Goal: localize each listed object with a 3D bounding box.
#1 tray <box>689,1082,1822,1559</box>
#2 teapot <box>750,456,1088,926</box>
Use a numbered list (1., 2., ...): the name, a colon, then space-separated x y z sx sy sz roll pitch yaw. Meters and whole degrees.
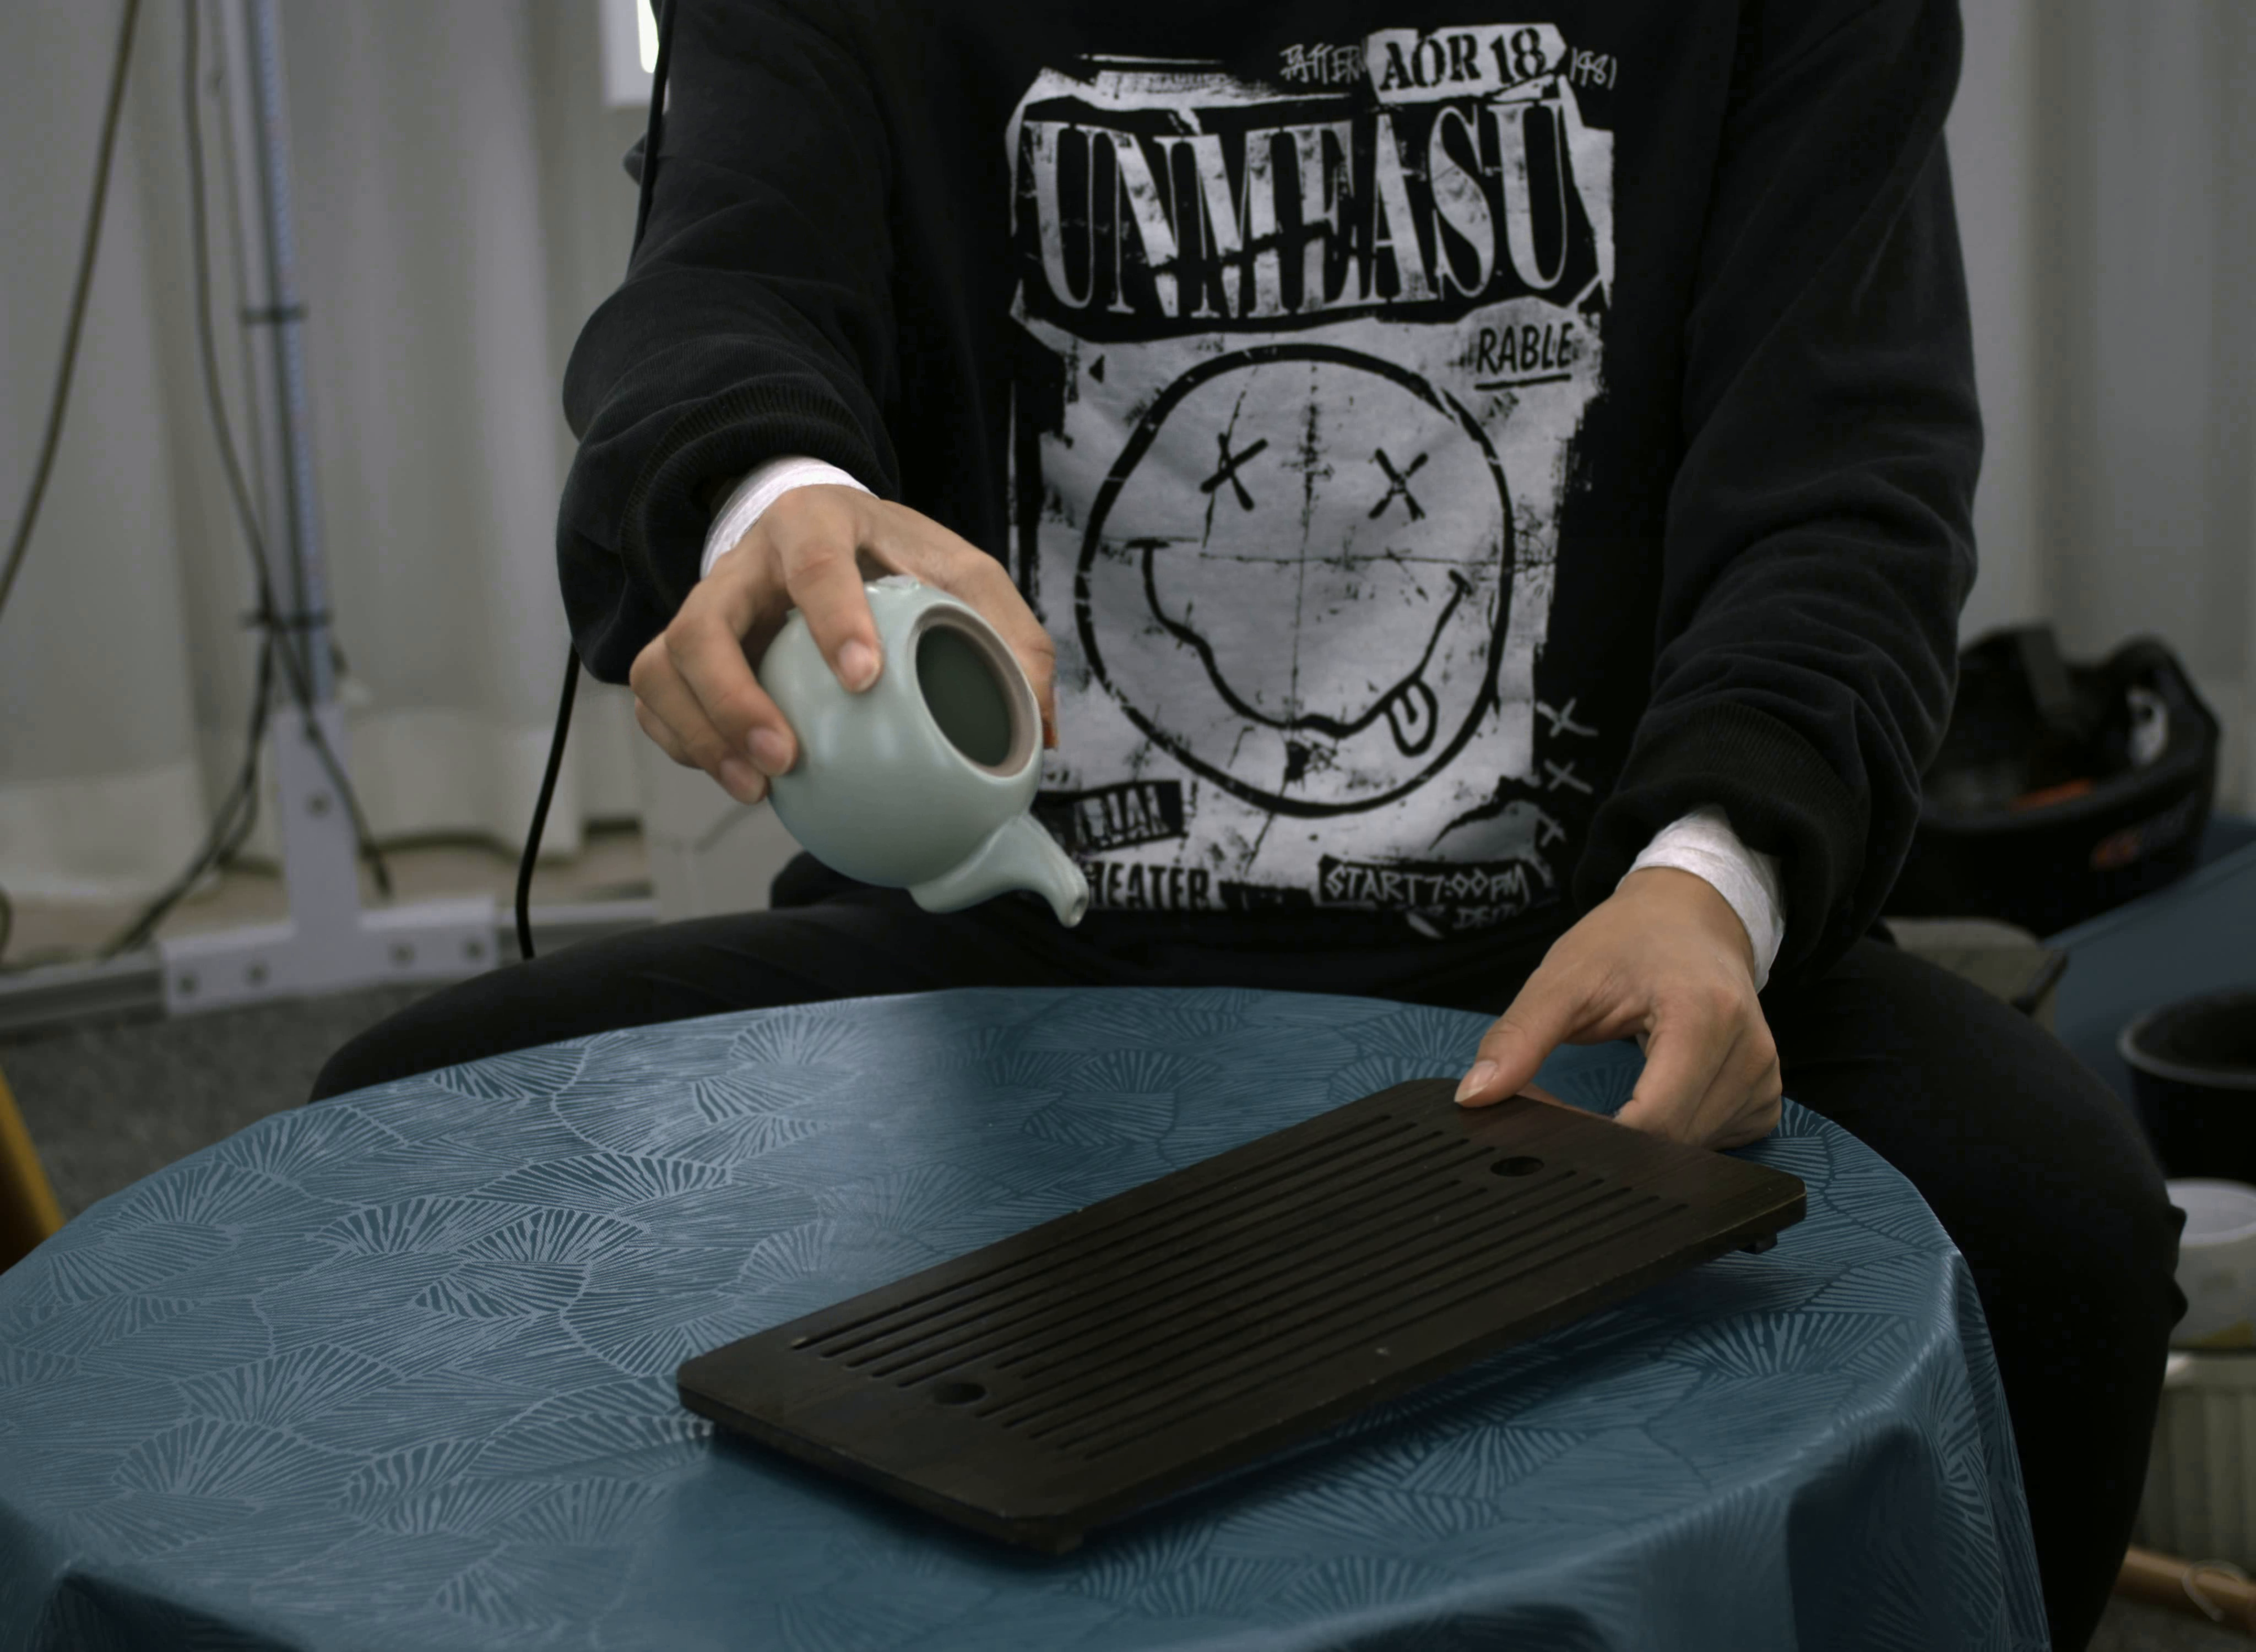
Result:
1. tray: 0.040 0.137 1.560 0.305 0.018 0.171 -18 20 -37
2. teapot: -0.065 -0.029 1.555 0.074 0.144 0.088 -24 -6 31
